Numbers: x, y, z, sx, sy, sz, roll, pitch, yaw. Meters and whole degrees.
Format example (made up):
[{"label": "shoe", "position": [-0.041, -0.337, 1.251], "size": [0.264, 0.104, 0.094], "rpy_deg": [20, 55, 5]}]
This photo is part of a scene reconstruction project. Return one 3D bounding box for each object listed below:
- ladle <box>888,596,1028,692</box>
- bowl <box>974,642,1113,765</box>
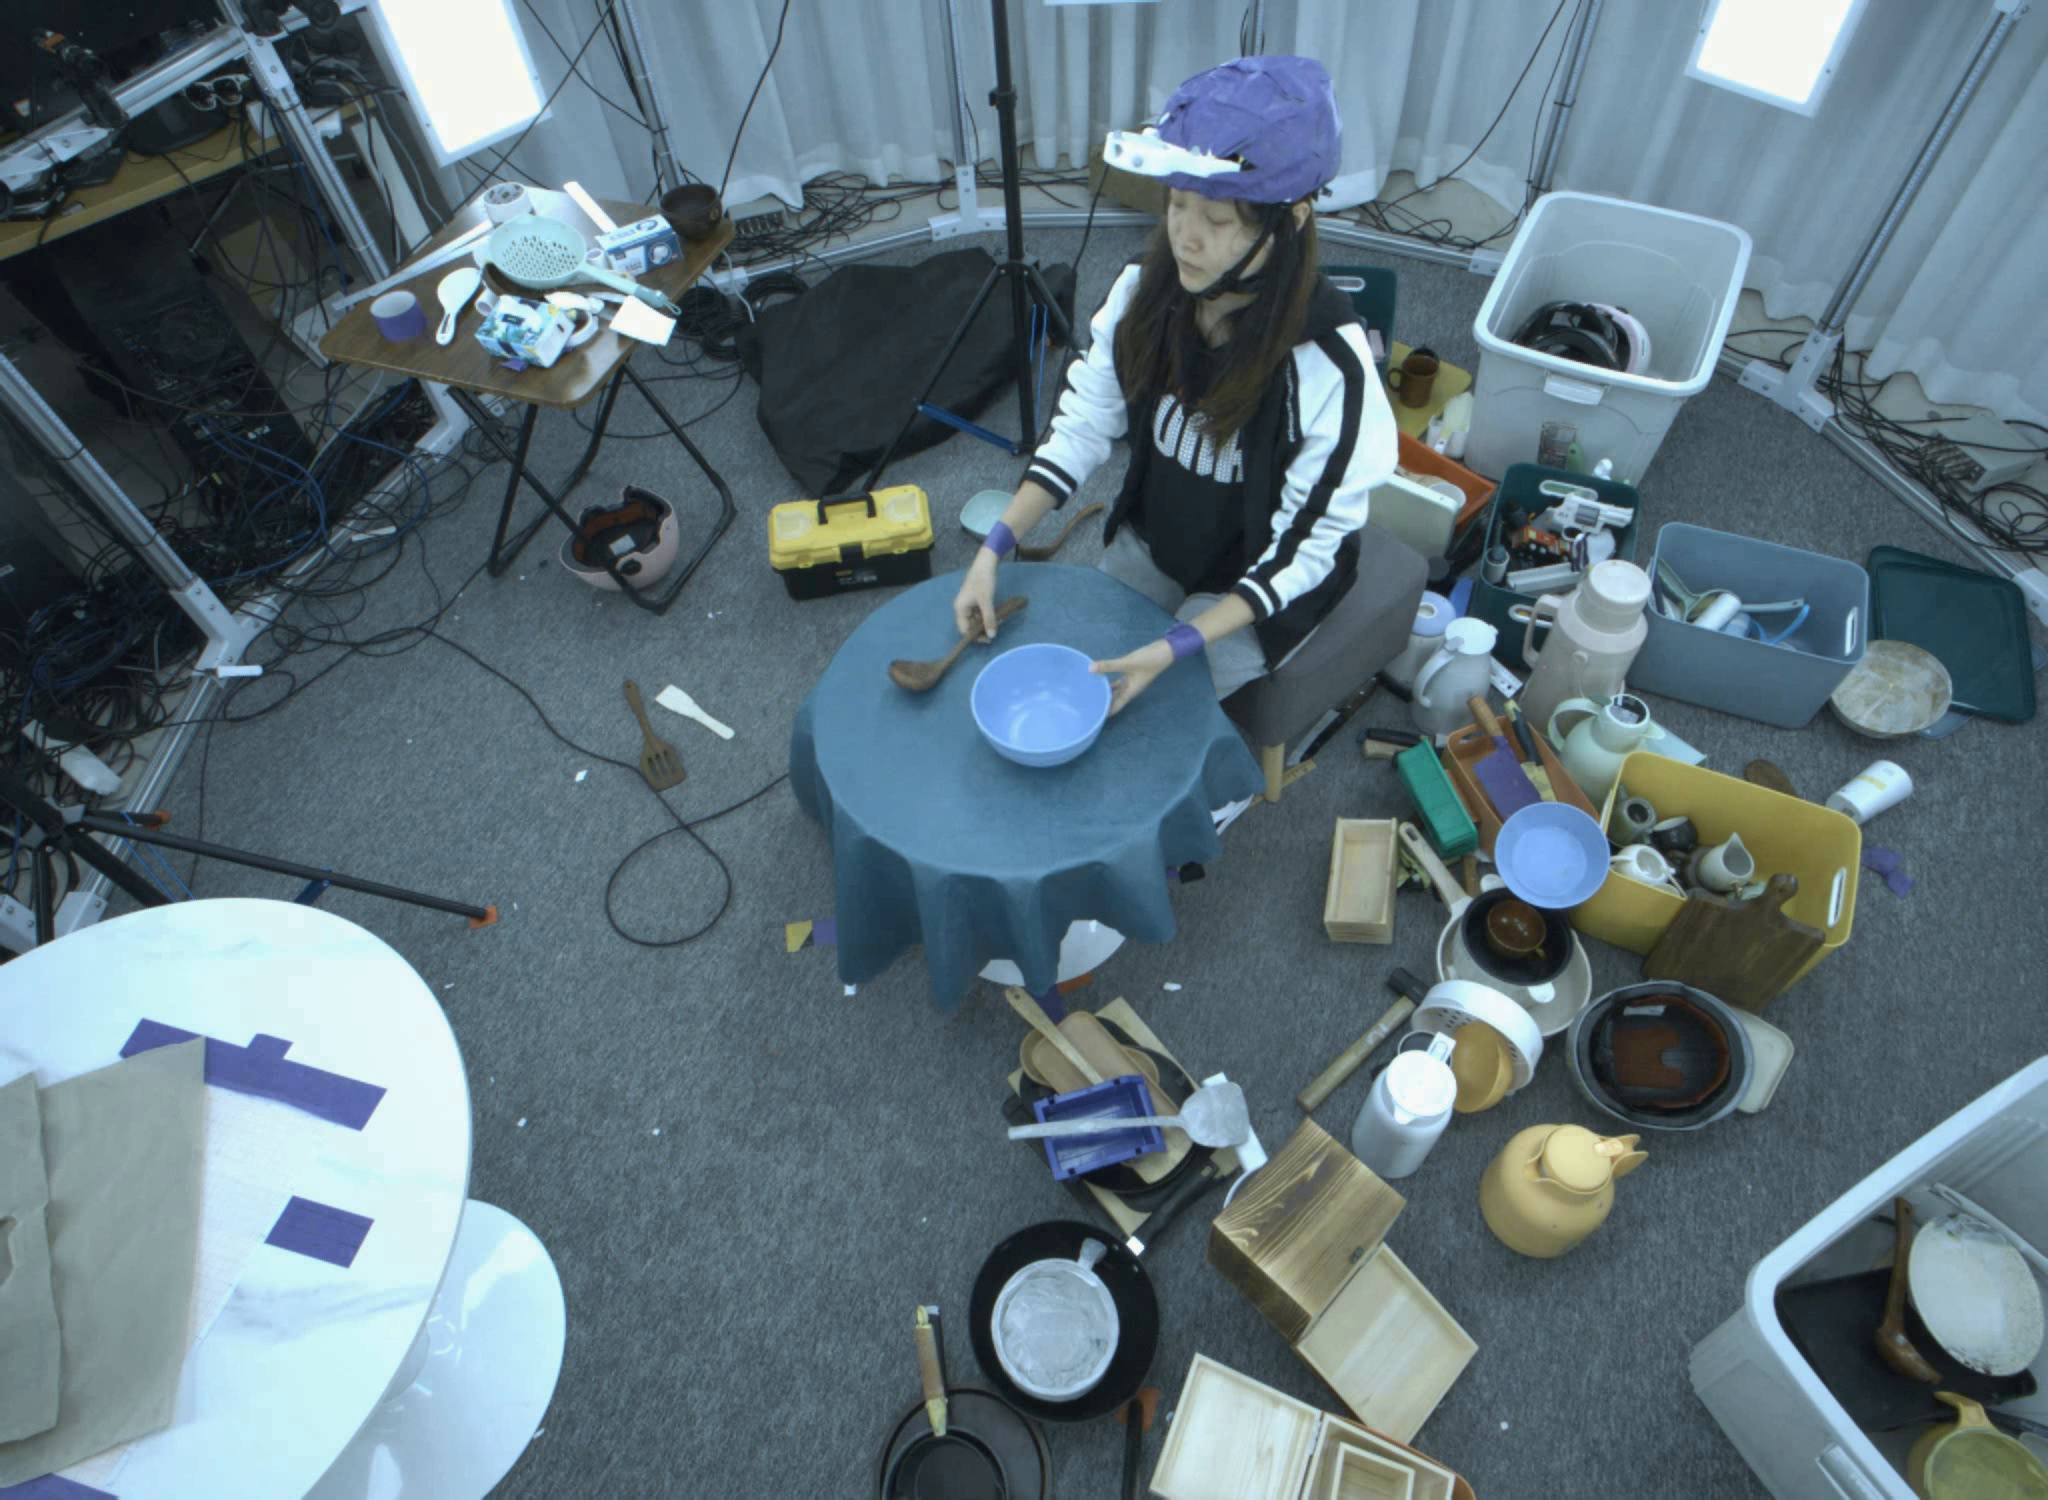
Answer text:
[{"label": "ladle", "position": [-0.097, -0.173, 1.868], "size": [0.261, 0.066, 0.075], "rpy_deg": [-40, 56, -18]}, {"label": "bowl", "position": [0.034, -0.051, 1.765], "size": [0.195, 0.097, 0.194], "rpy_deg": [-4, 54, 7]}]
